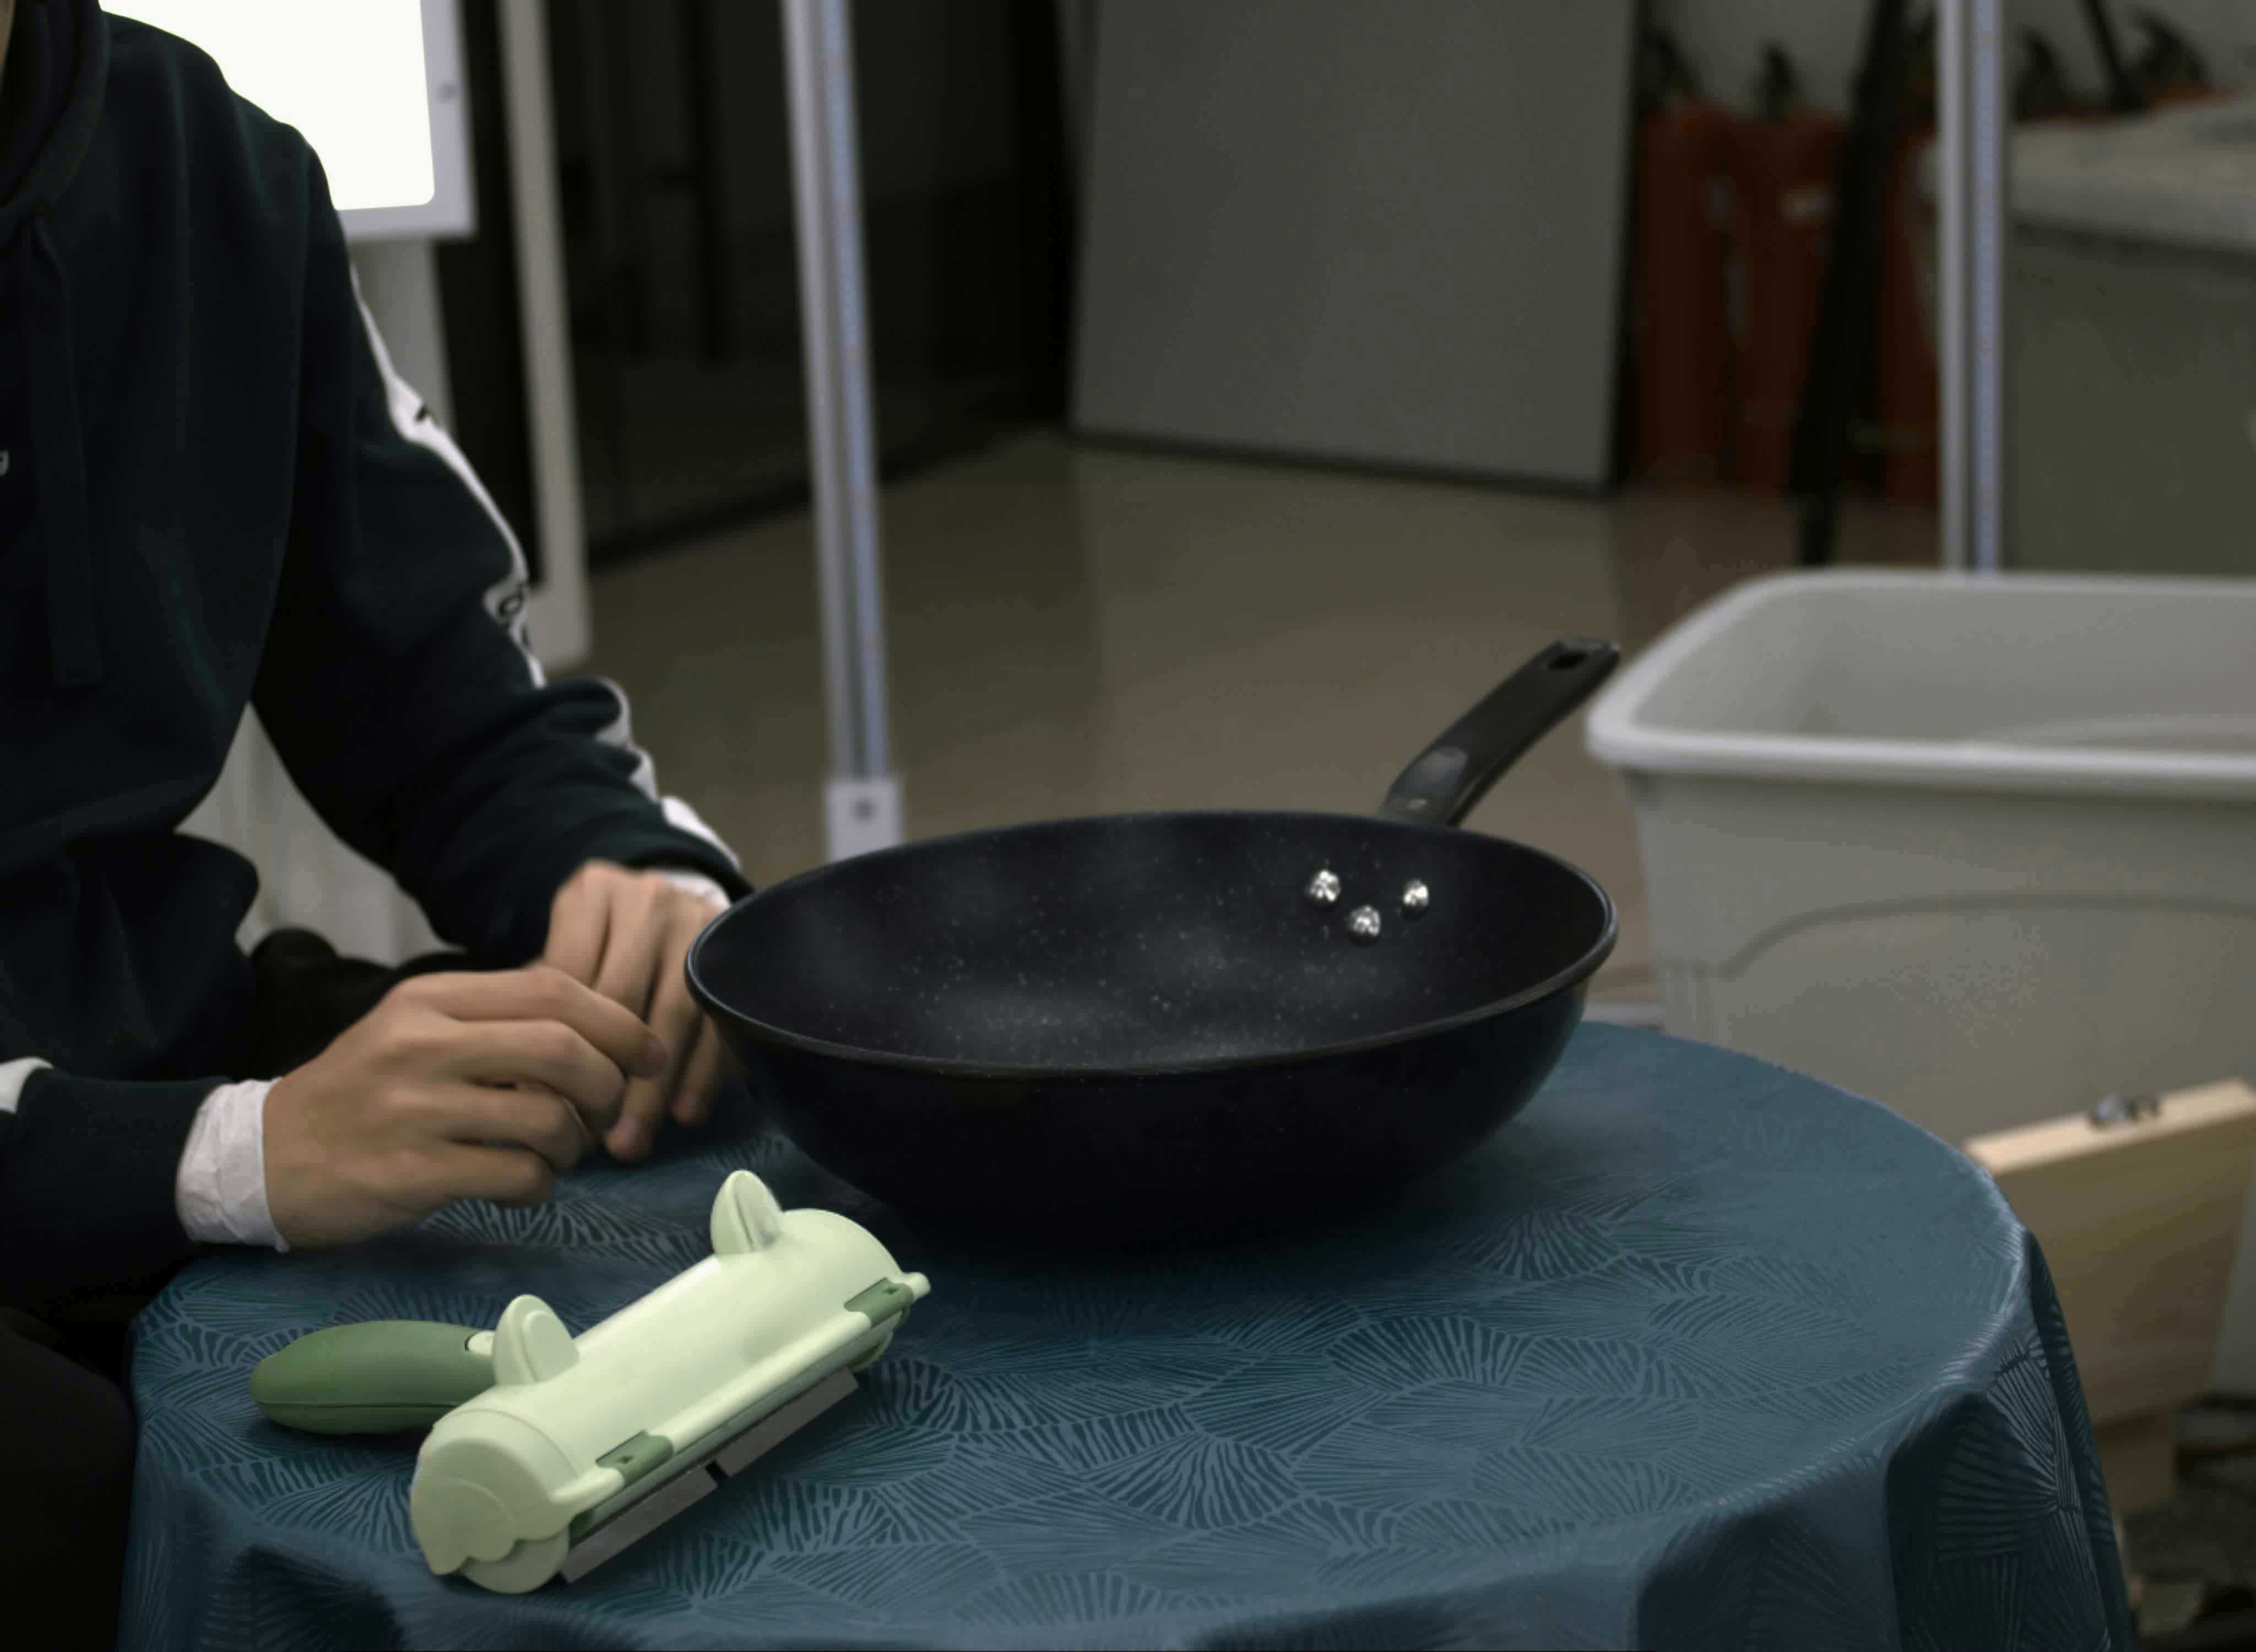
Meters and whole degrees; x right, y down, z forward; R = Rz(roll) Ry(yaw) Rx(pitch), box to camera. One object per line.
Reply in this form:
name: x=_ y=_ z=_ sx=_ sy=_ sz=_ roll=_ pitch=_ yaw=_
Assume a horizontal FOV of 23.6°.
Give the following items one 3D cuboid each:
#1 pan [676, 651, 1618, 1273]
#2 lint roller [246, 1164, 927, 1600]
pan: x=0.050 y=0.047 z=1.835 sx=0.312 sy=0.113 sz=0.469 roll=6 pitch=18 yaw=32
lint roller: x=-0.180 y=0.147 z=1.562 sx=0.184 sy=0.083 sz=0.196 roll=9 pitch=19 yaw=27
